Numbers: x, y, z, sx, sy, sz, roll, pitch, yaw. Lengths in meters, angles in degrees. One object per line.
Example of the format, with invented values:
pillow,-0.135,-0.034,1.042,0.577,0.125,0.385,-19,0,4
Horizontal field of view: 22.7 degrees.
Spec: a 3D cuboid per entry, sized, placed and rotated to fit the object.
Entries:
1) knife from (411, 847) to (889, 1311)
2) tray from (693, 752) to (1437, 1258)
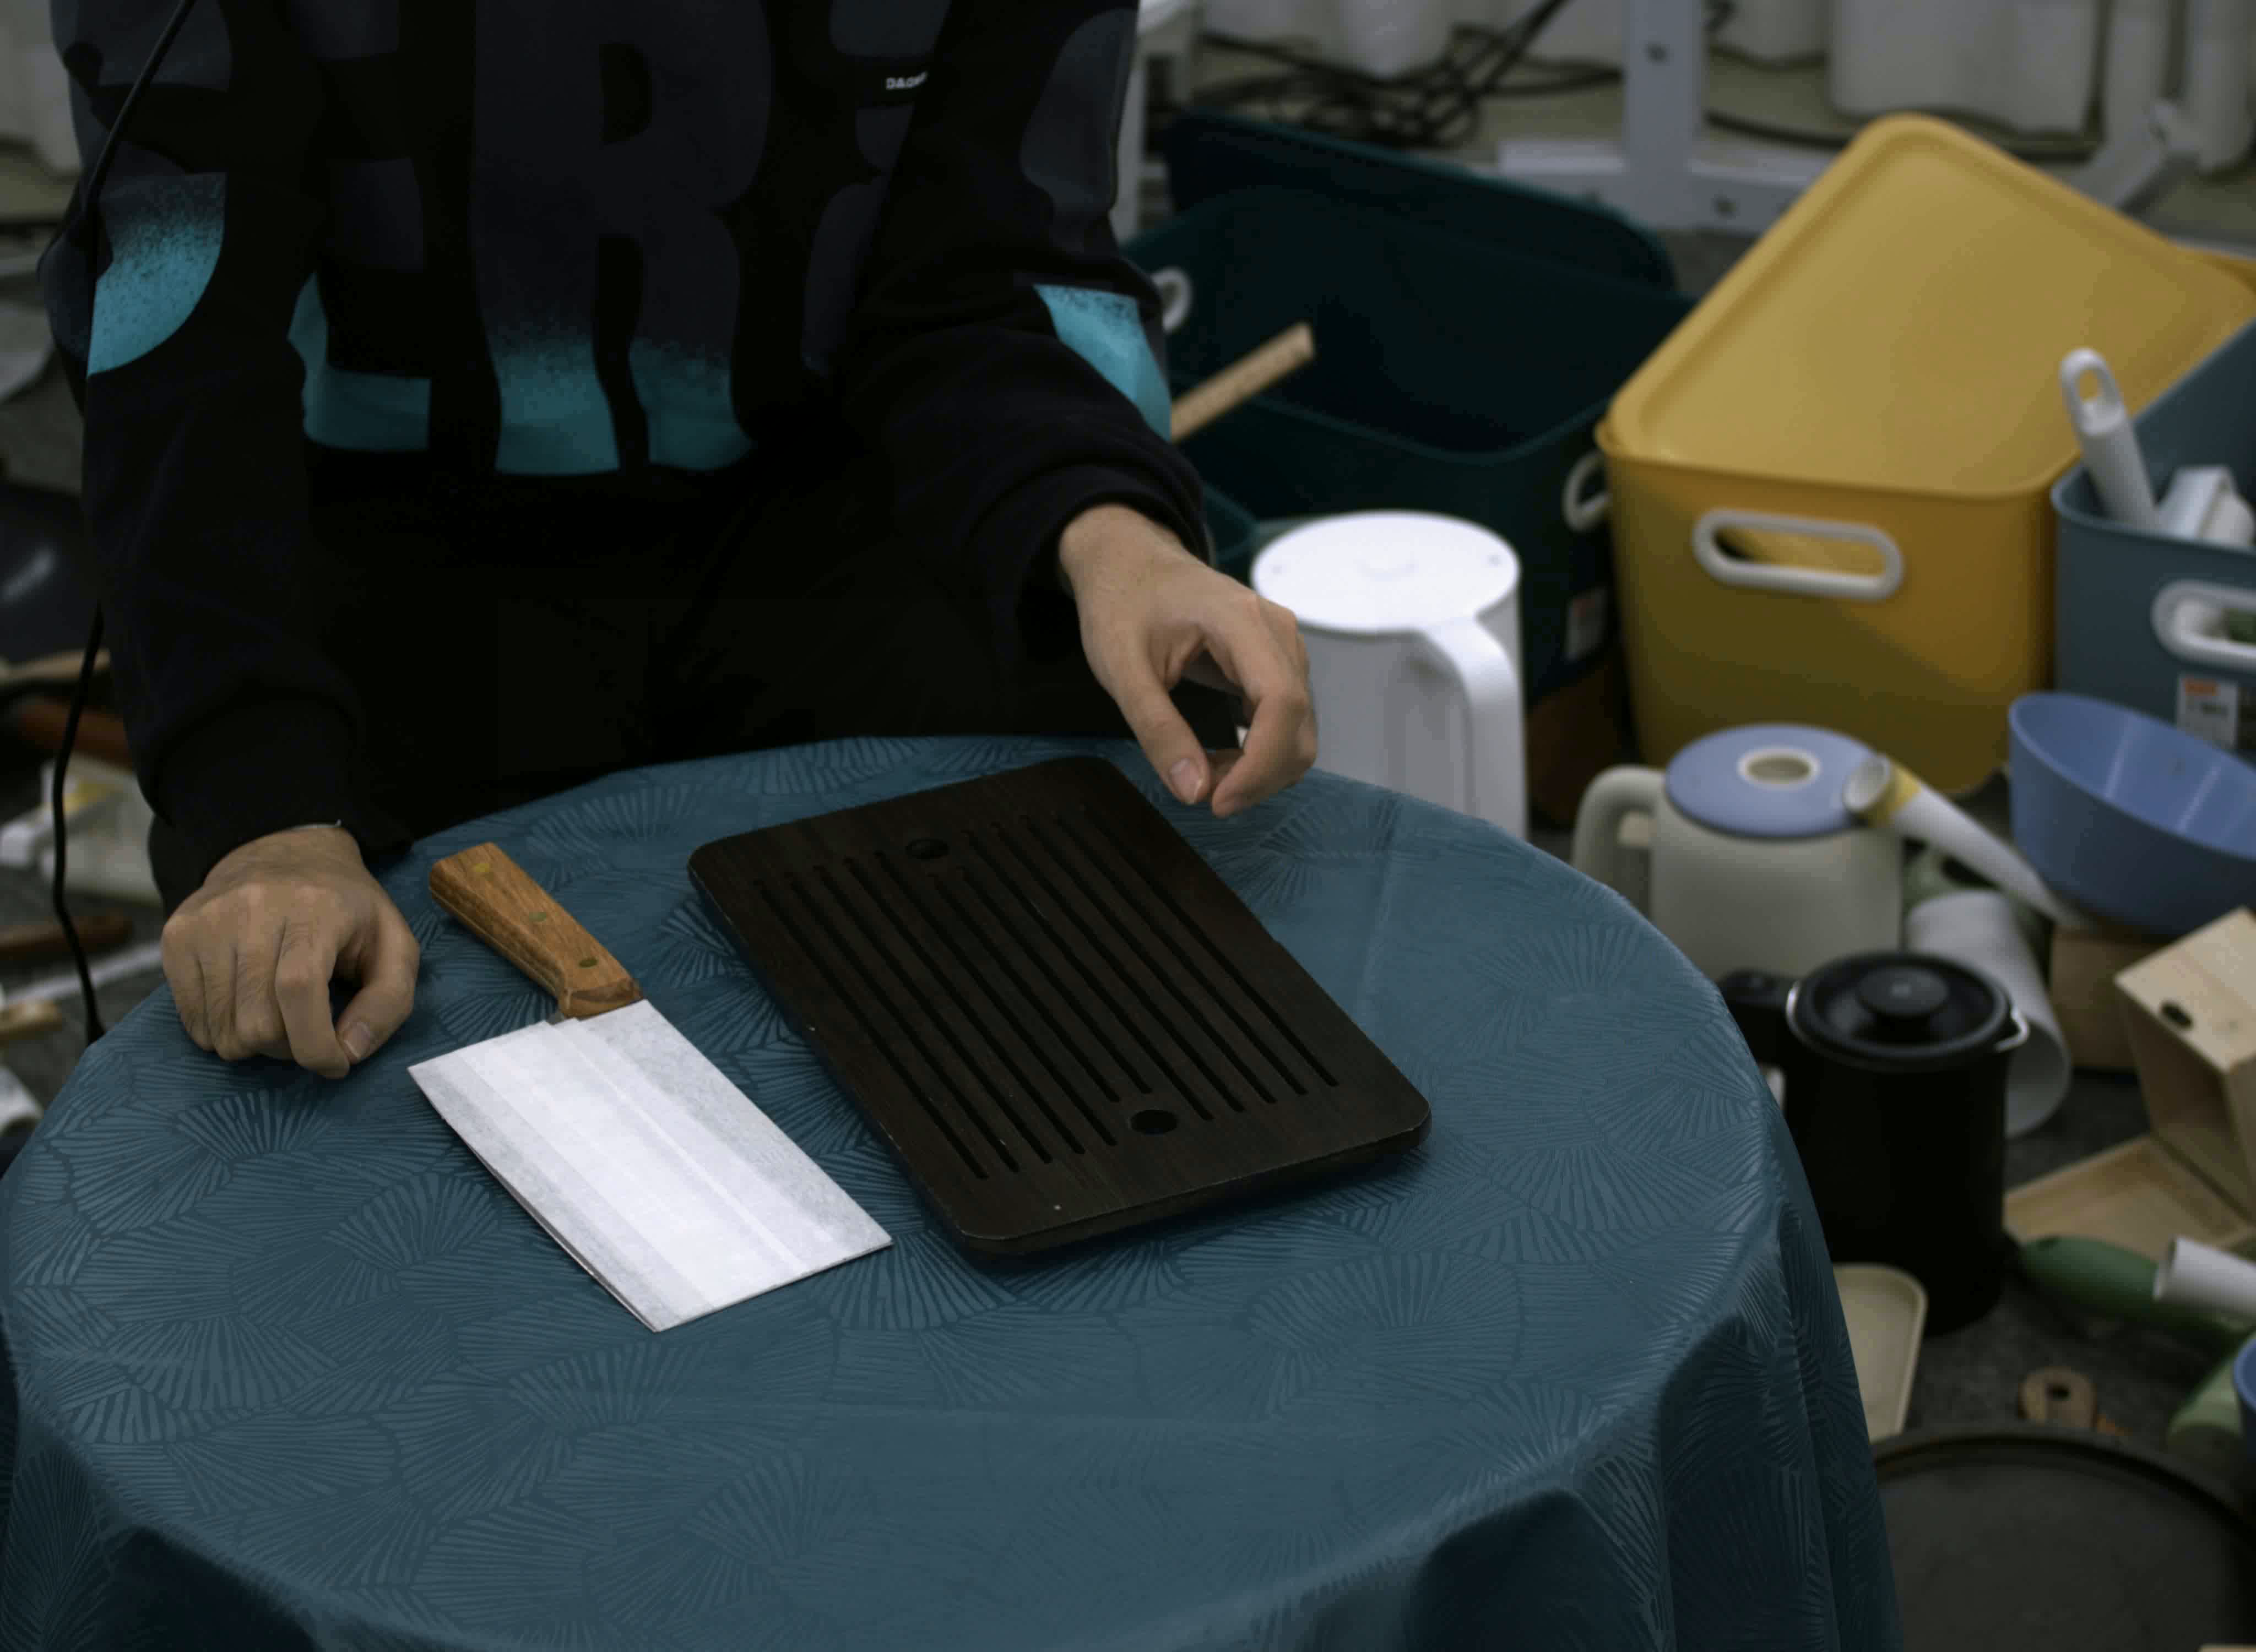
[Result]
knife,-0.191,0.087,1.932,0.093,0.021,0.307,-19,34,-25
tray,-0.028,0.059,1.965,0.170,0.018,0.308,-13,29,-18
